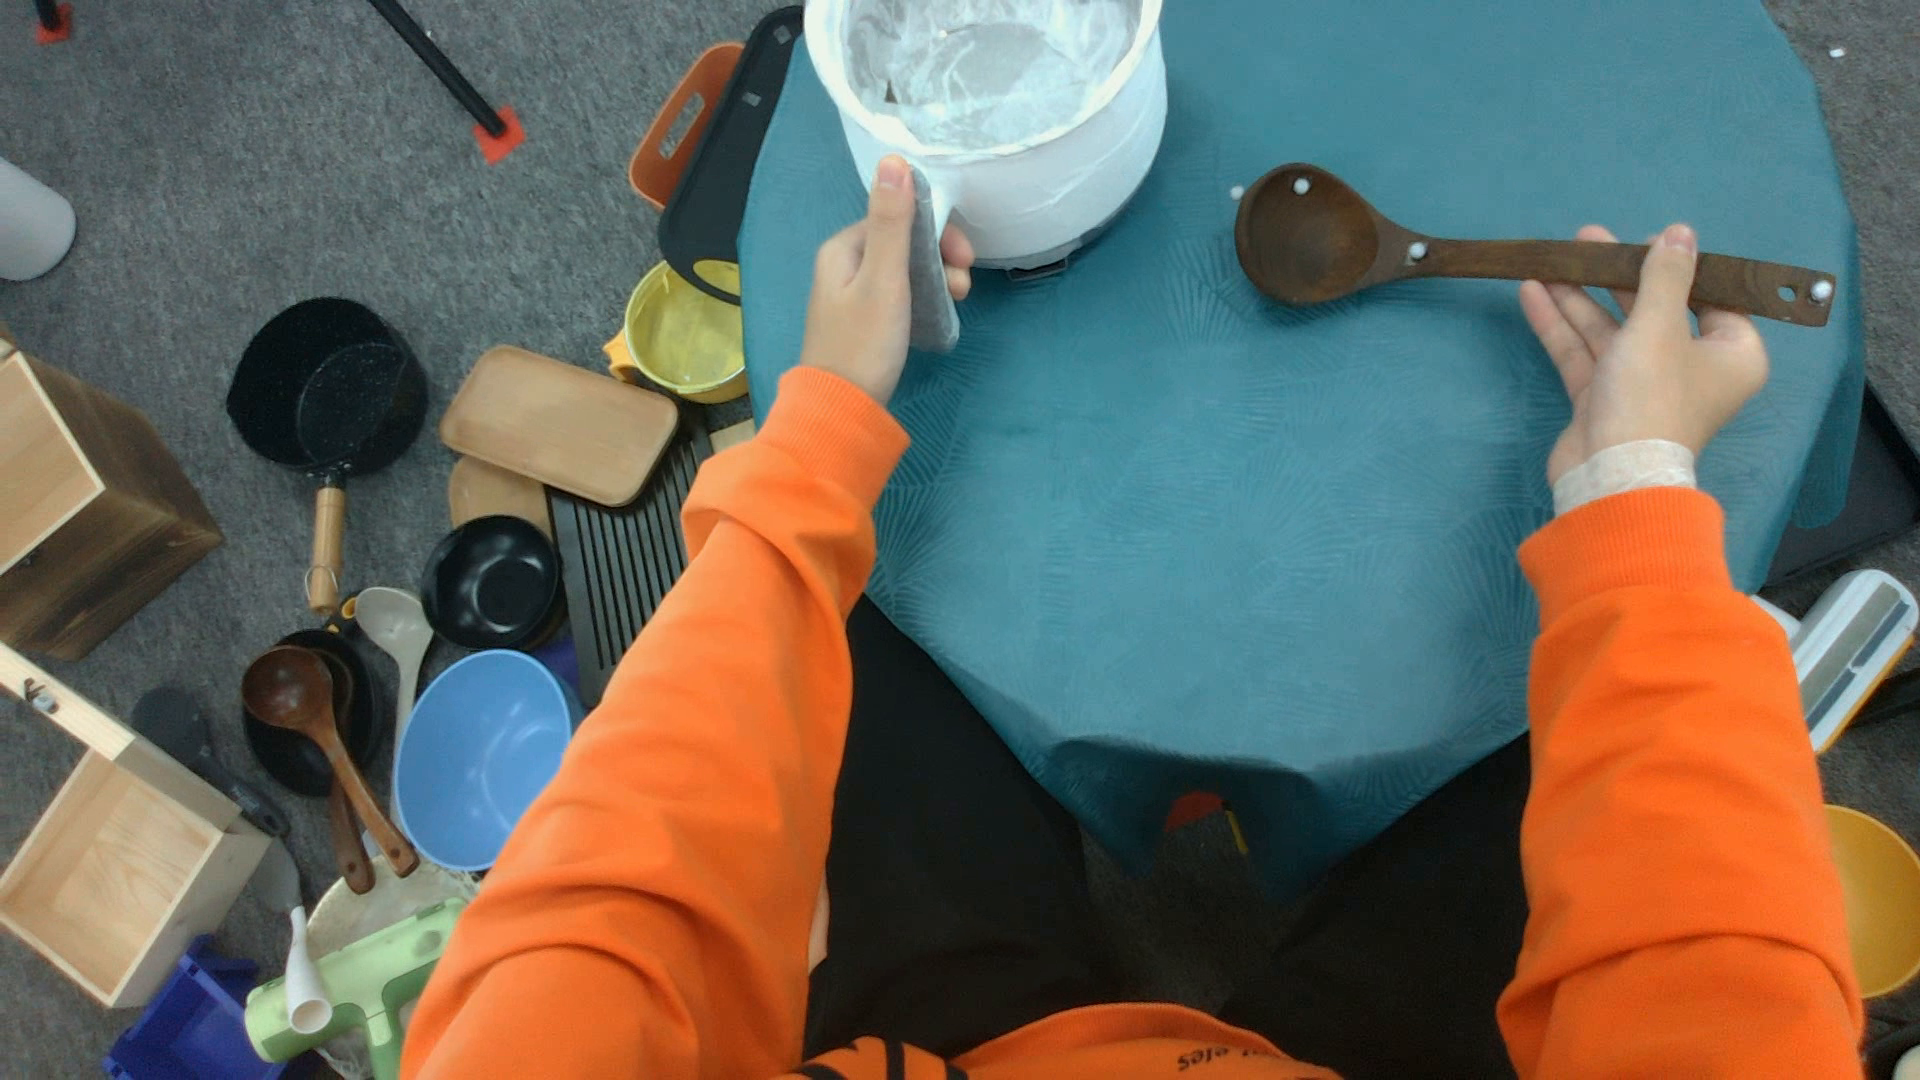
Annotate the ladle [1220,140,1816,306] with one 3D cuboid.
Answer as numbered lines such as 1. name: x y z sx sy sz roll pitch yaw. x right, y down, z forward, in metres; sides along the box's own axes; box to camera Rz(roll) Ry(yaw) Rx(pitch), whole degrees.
1. ladle: 0.264 -0.151 0.676 0.274 0.071 0.076 13 88 30

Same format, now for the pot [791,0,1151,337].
1. pot: 0.004 -0.229 0.729 0.178 0.136 0.234 15 76 13
